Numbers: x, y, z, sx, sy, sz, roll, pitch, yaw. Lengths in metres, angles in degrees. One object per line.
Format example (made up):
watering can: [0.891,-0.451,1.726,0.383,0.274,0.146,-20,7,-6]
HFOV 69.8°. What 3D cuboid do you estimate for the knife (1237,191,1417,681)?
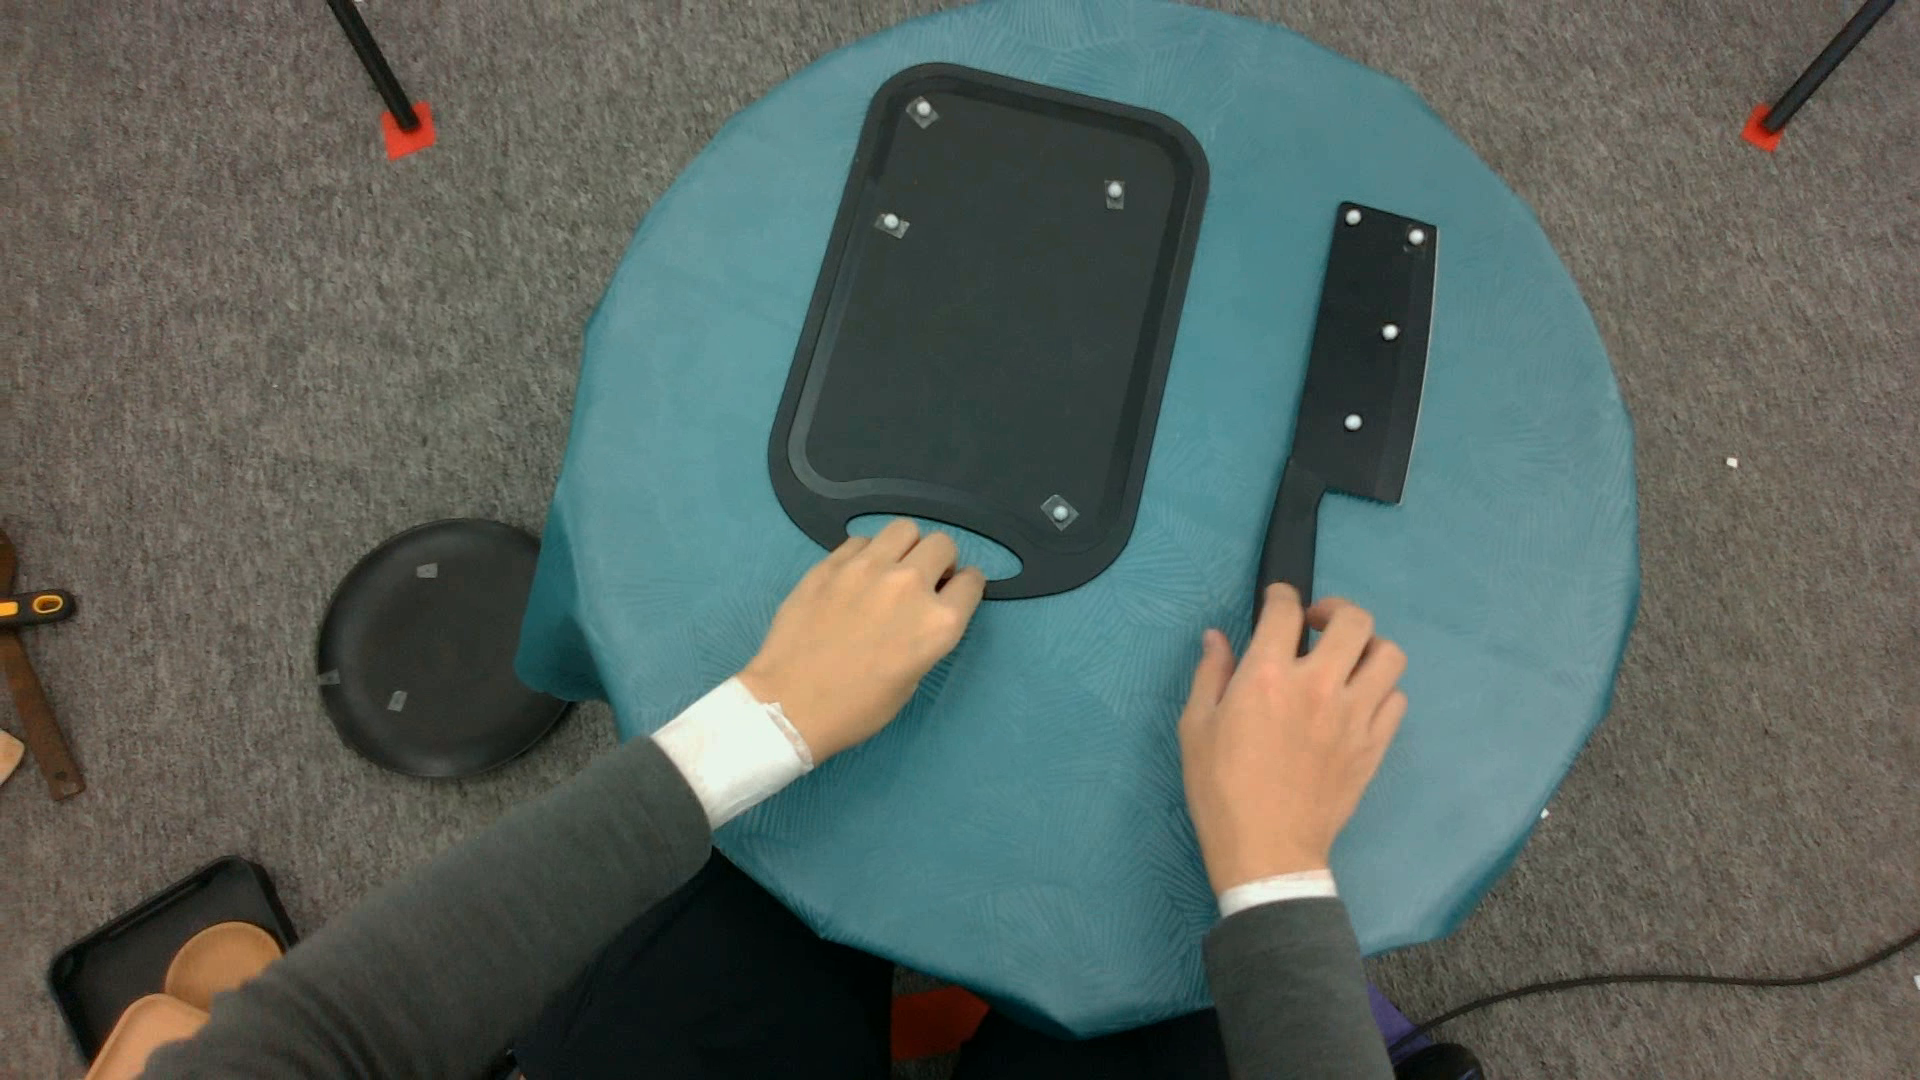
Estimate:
knife: [0.207,-0.065,0.776,0.081,0.021,0.303,19,72,1]

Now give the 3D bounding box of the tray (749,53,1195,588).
tray: [0.010,-0.131,0.790,0.211,0.010,0.326,14,73,2]
